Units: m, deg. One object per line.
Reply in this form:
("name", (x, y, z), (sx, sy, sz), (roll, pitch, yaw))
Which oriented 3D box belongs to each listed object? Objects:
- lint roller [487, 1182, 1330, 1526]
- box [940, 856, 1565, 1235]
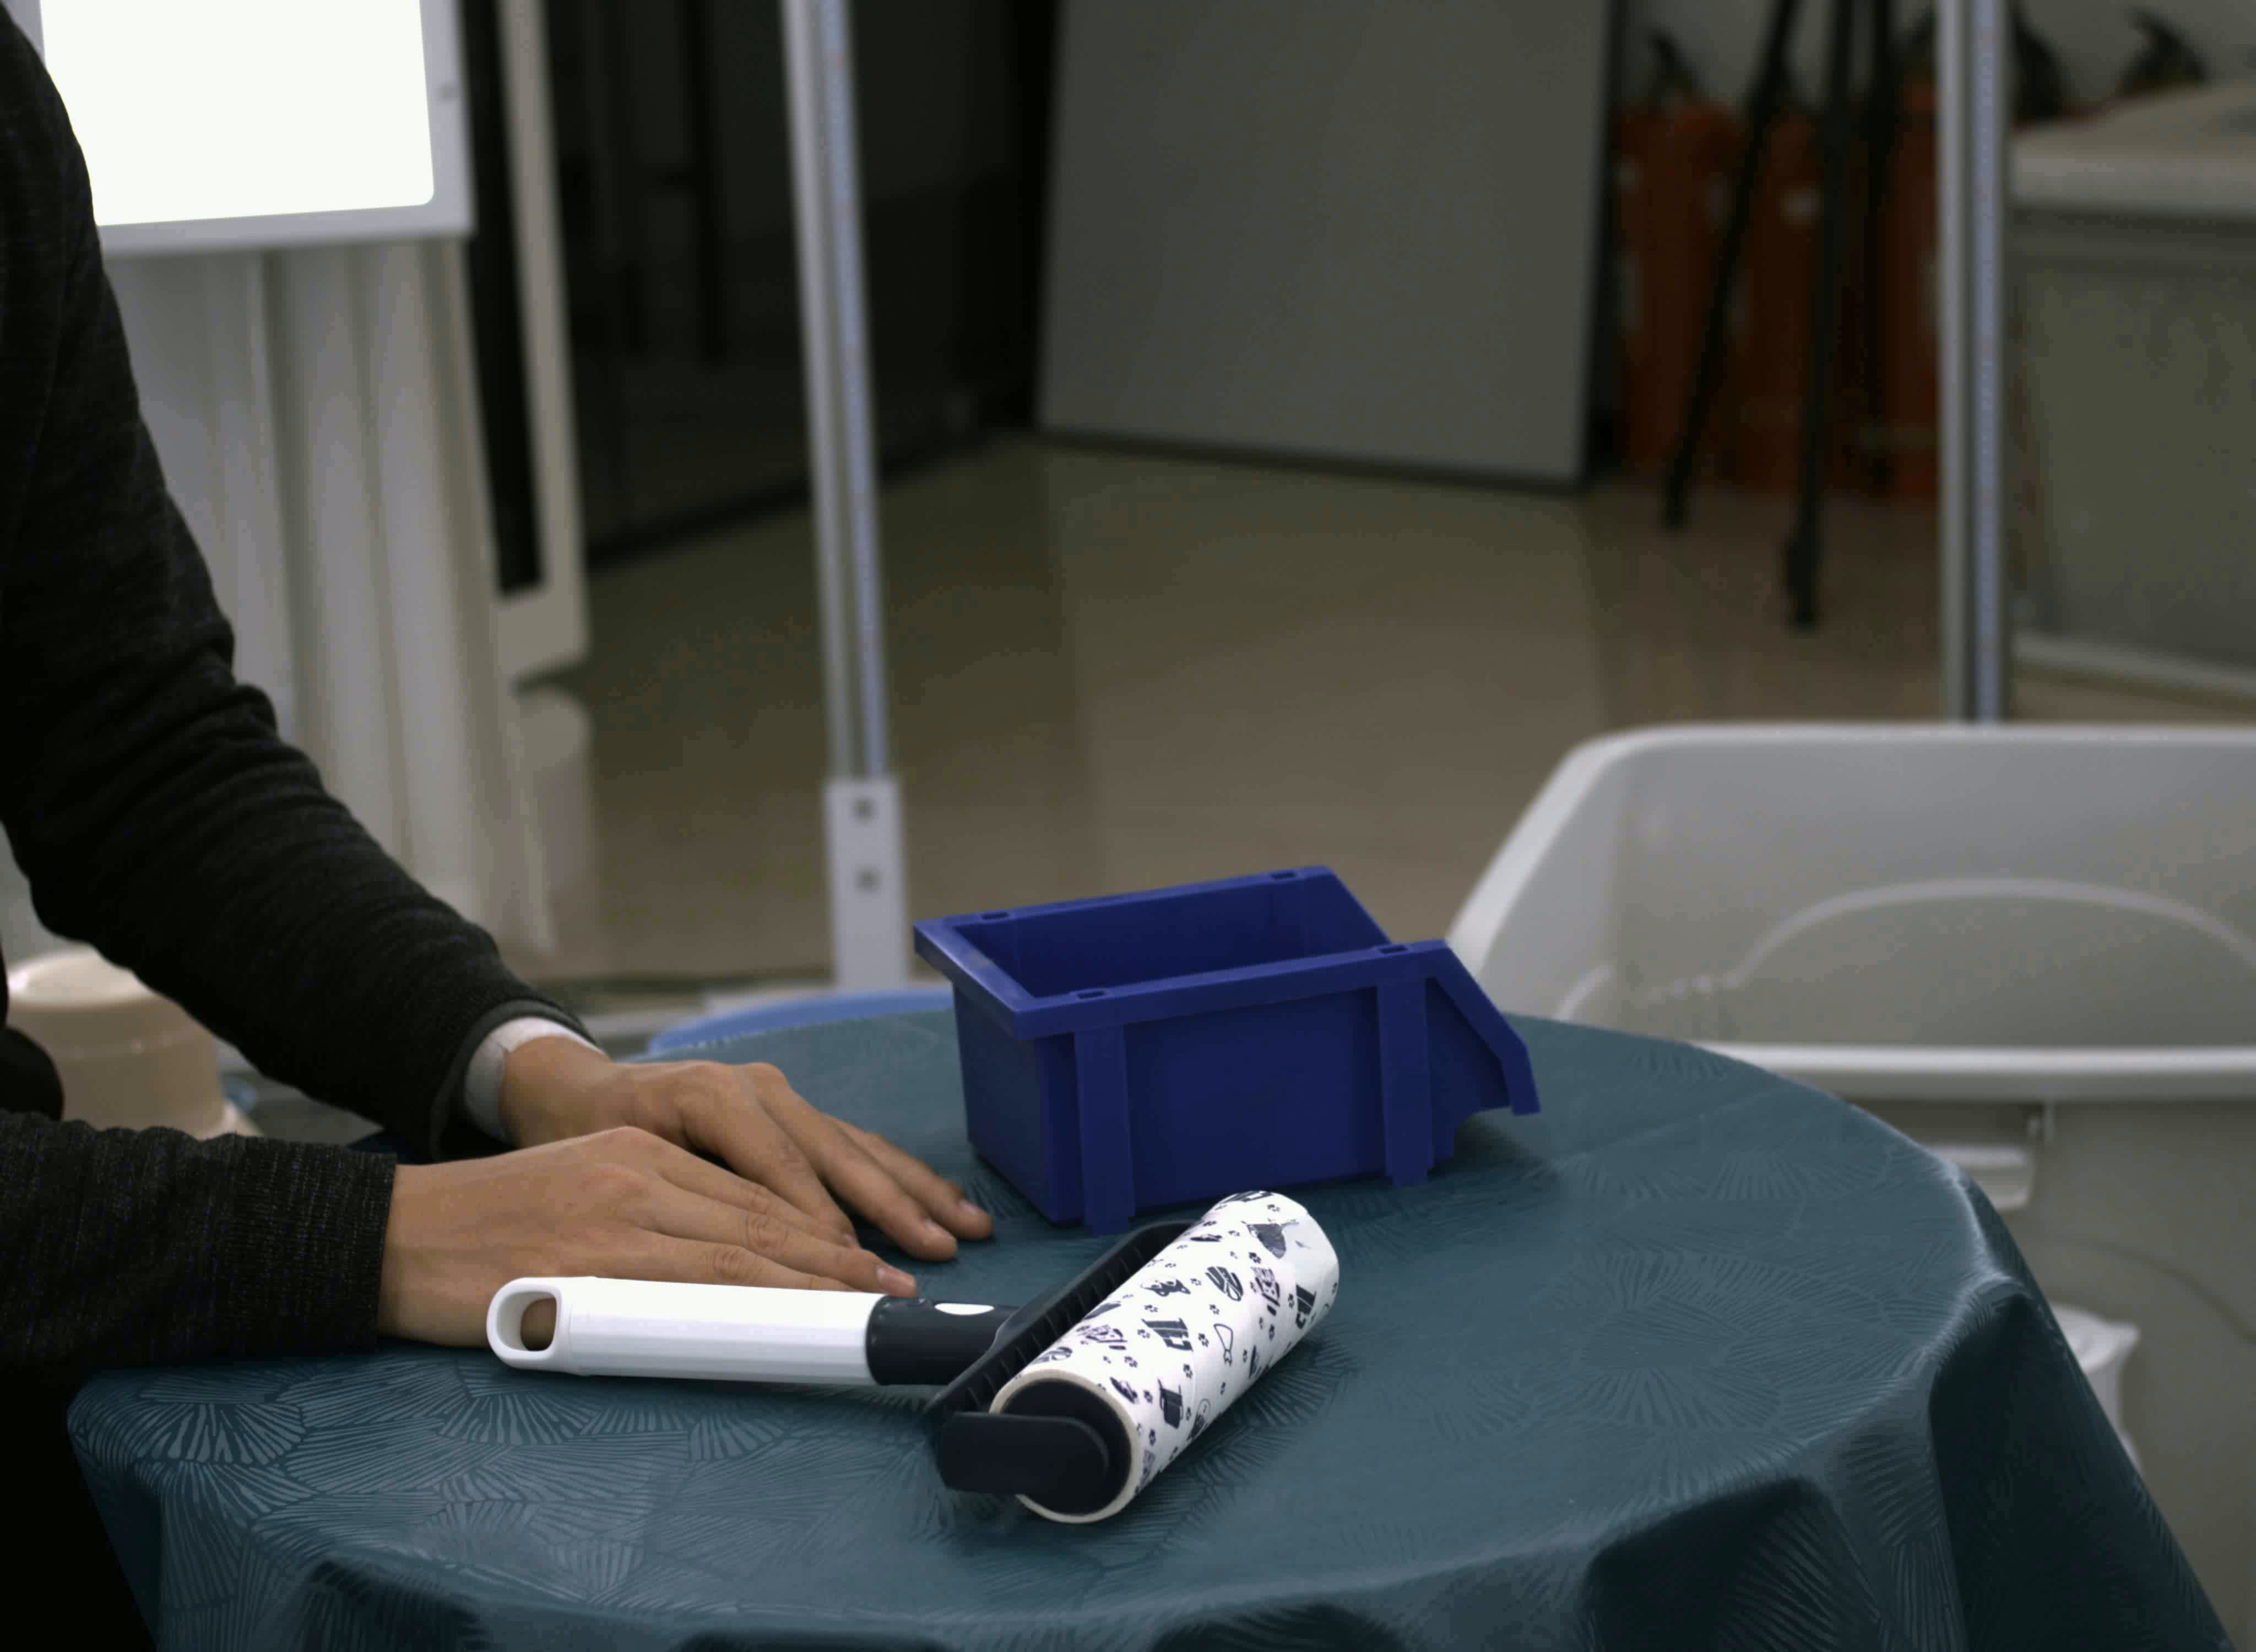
("lint roller", (-0.081, 0.149, 1.588), (0.247, 0.051, 0.174), (1, 15, 23))
("box", (0.040, 0.070, 1.795), (0.176, 0.083, 0.125), (-10, 14, -14))
